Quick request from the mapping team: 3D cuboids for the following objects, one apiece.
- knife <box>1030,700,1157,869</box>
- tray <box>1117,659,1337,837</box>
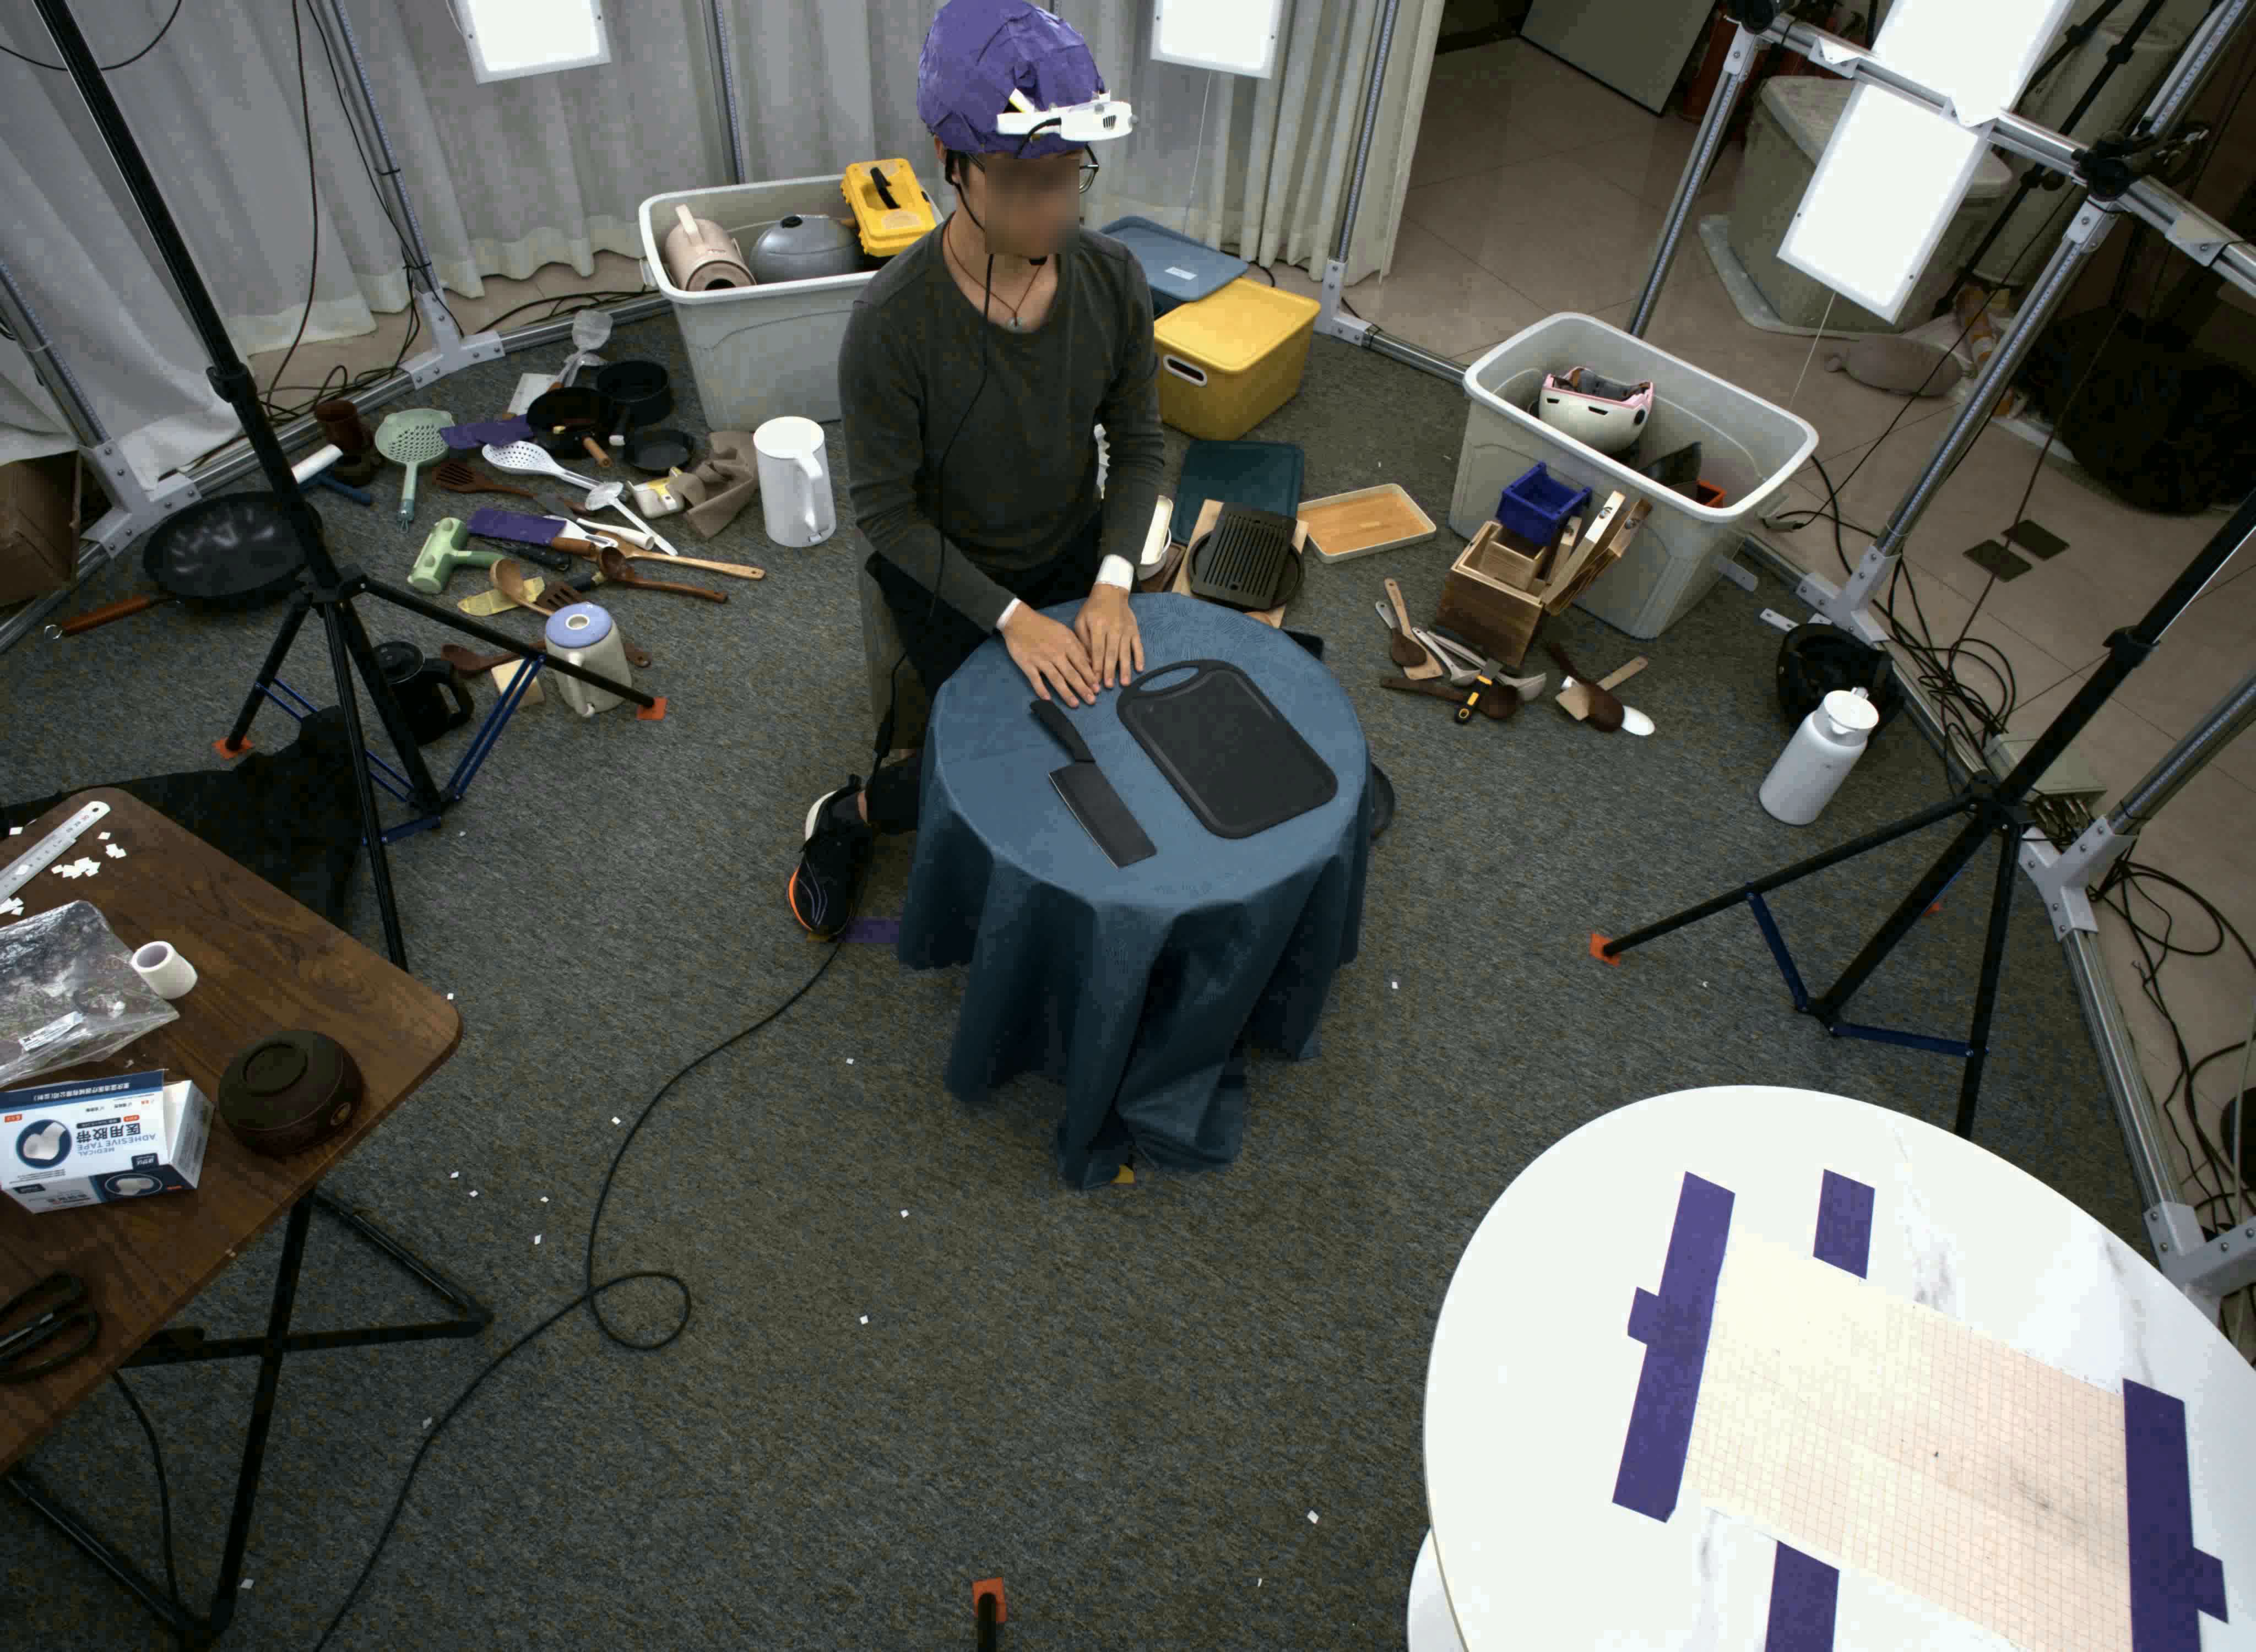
[{"bbox_3d":[-0.059,-0.062,1.708,0.081,0.020,0.309,-18,54,-18],"label":"knife"},{"bbox_3d":[0.129,-0.121,1.776,0.211,0.009,0.332,-21,53,-21],"label":"tray"}]
